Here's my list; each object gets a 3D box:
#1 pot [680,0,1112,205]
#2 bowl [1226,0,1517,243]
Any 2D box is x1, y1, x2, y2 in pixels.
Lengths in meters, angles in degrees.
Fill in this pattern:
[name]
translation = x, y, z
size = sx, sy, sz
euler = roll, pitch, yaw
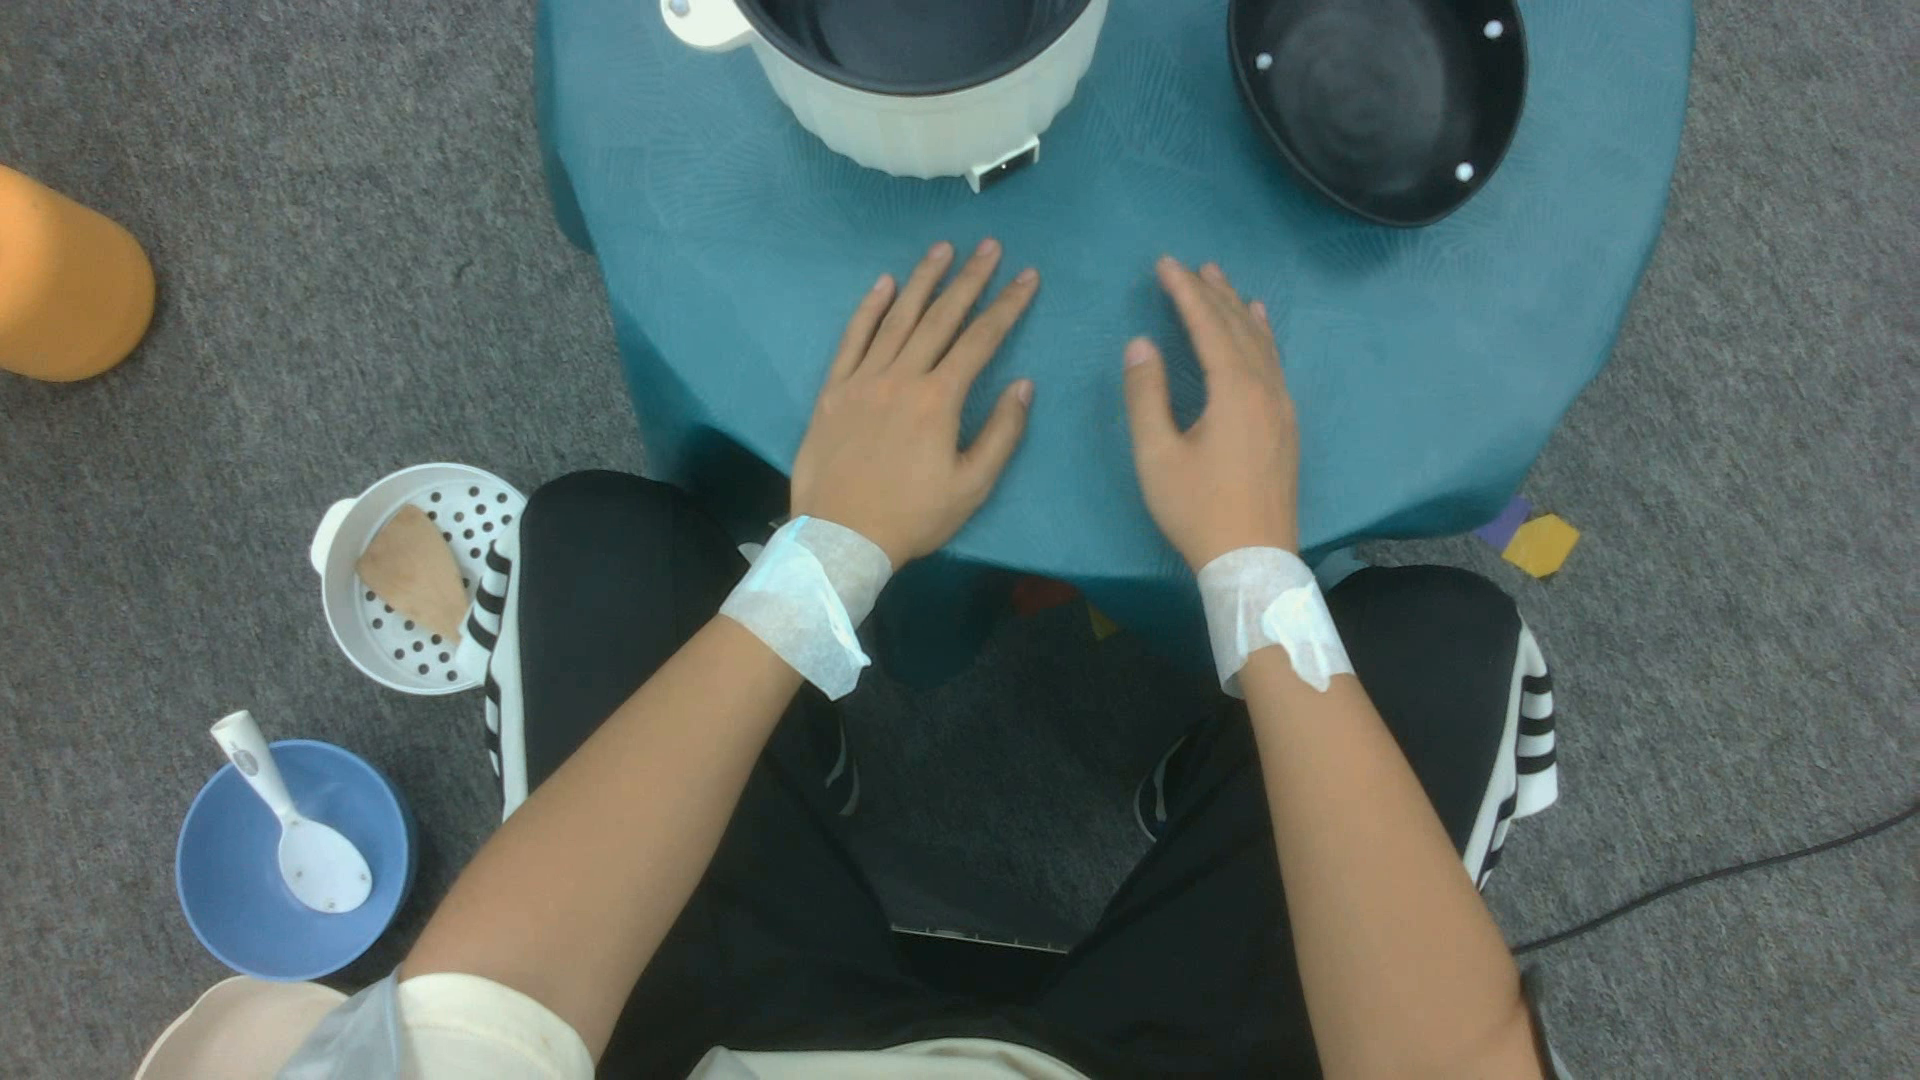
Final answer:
[pot]
translation = -0.019, -0.271, 0.676
size = 0.240, 0.142, 0.190
euler = -29, 86, -2
[bowl]
translation = 0.204, -0.229, 0.700
size = 0.137, 0.066, 0.170
euler = -22, 84, 0
